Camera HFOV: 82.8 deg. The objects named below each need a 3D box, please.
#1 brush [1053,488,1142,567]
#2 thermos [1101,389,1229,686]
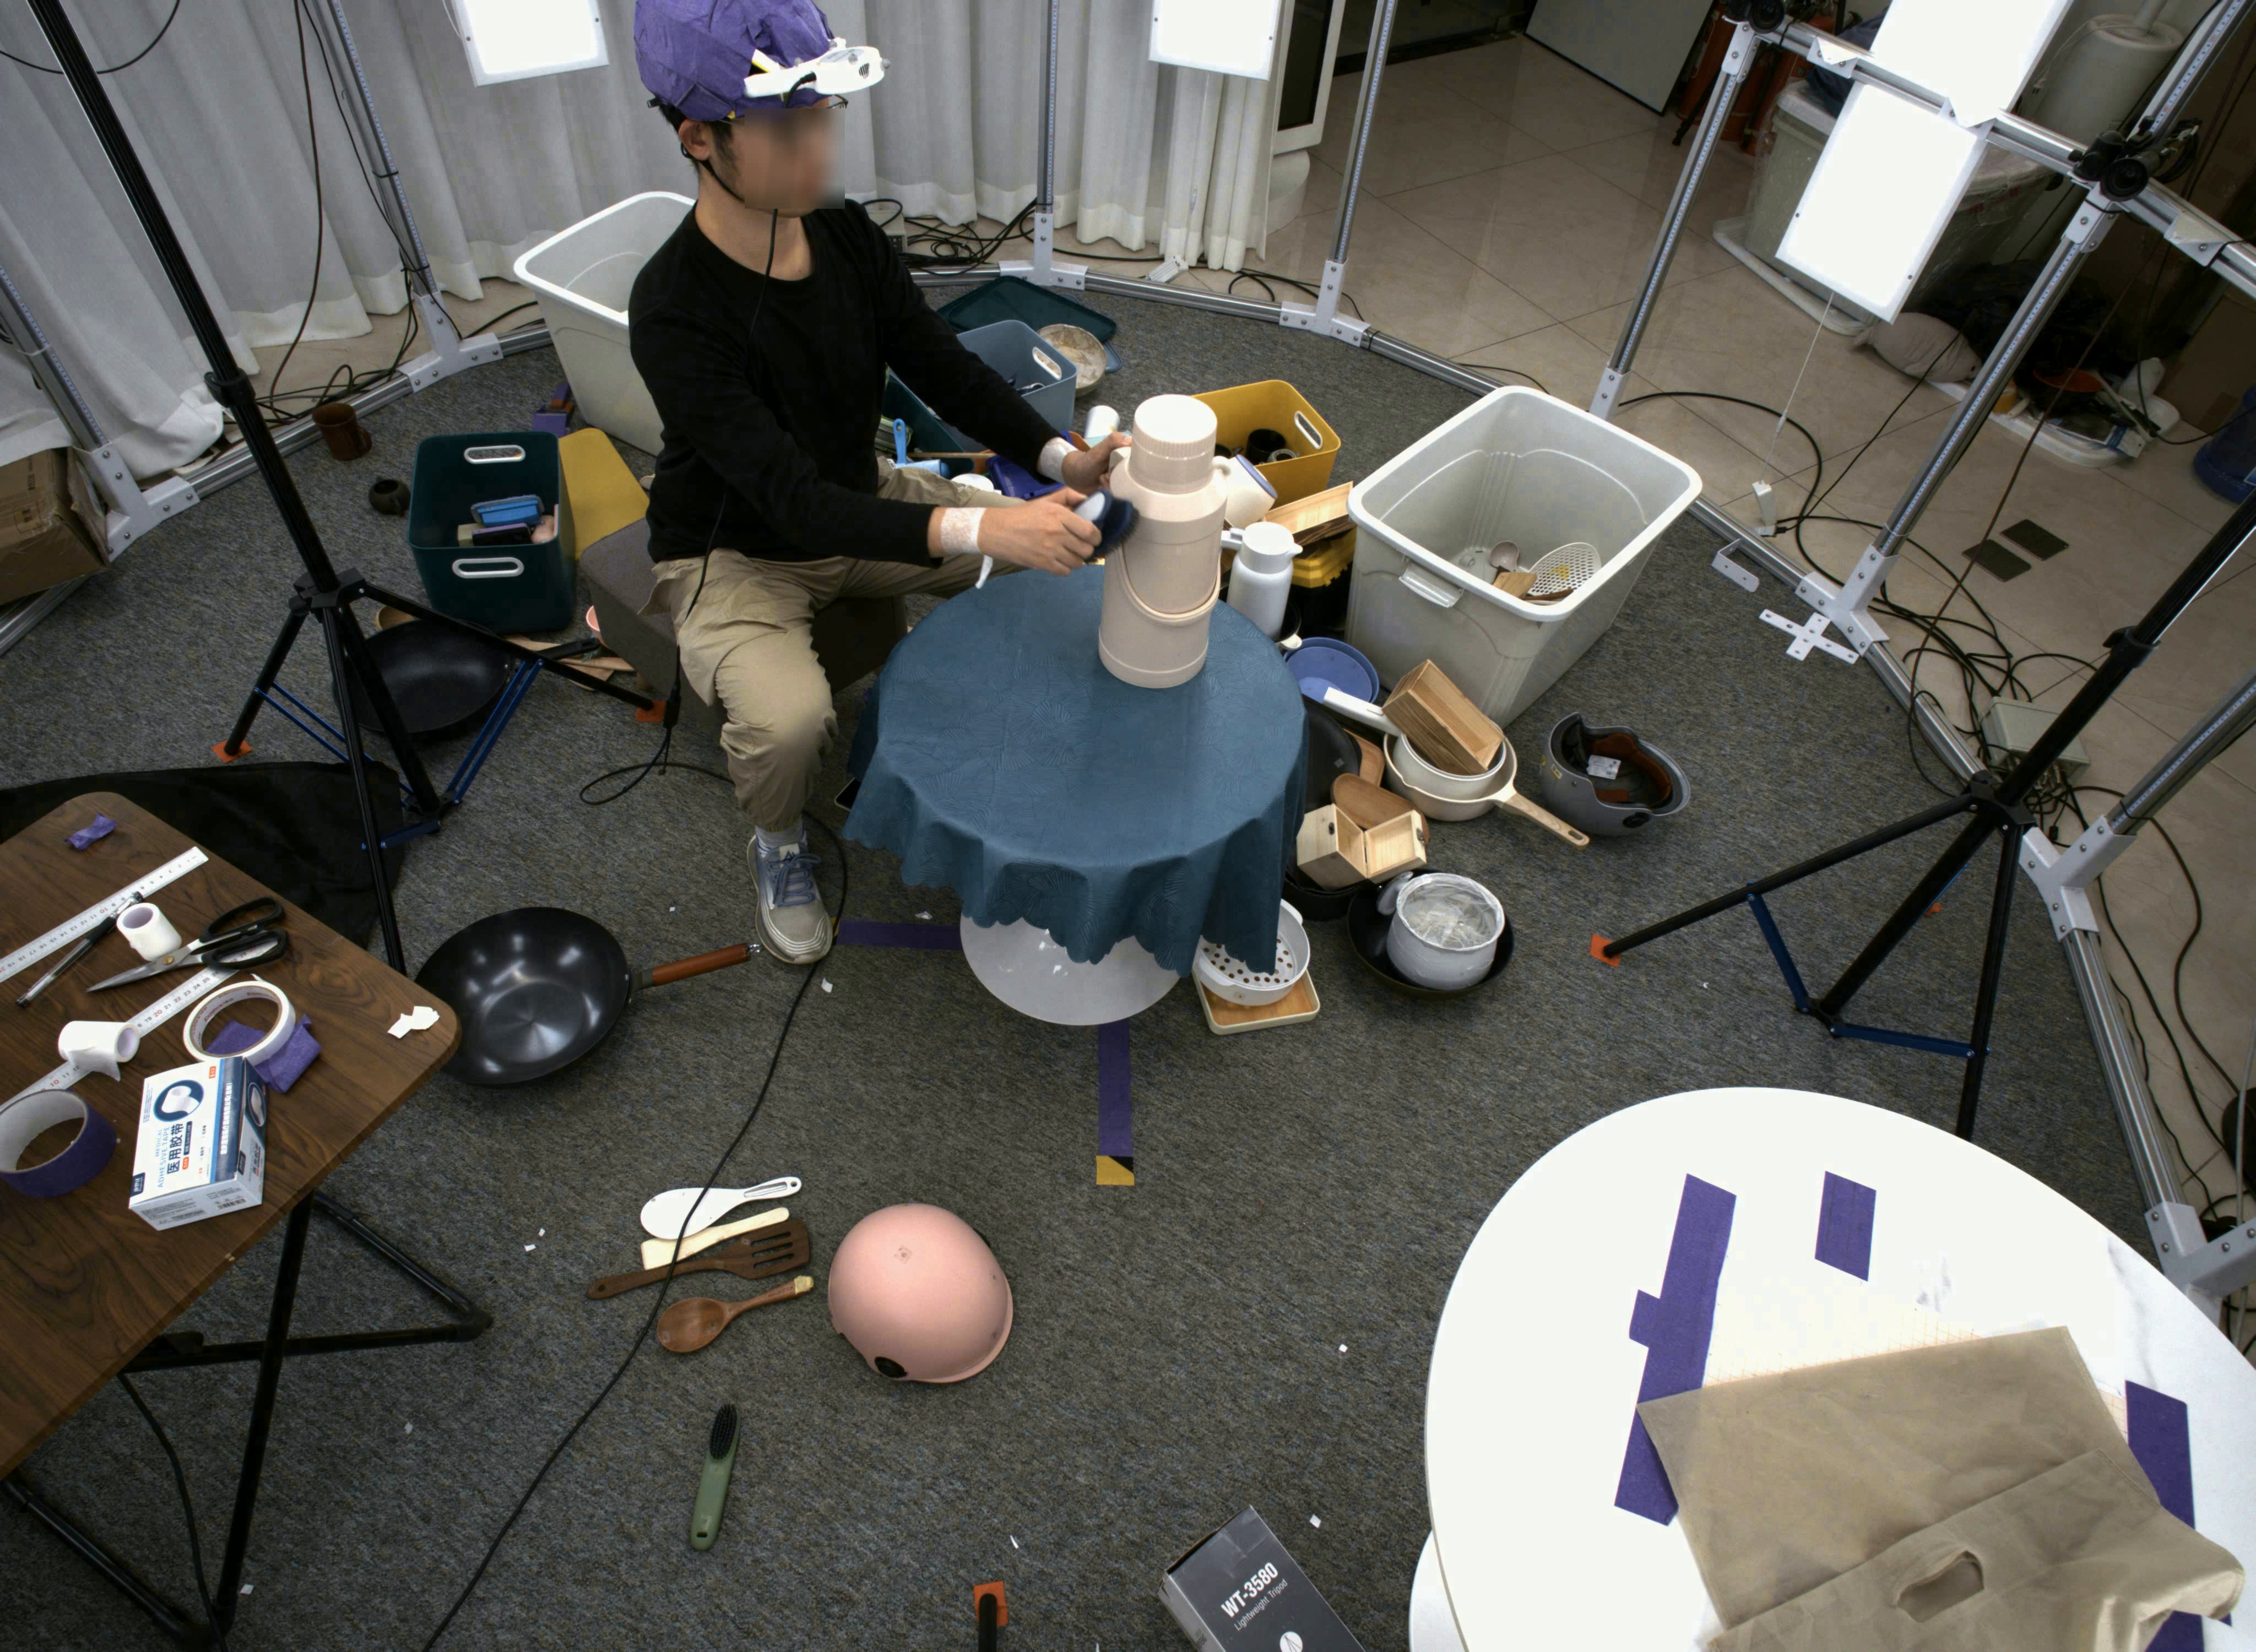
[{"bbox_3d":[-0.037,-0.370,1.607,0.060,0.121,0.069,25,57,-34],"label":"brush"},{"bbox_3d":[0.041,-0.395,1.760,0.176,0.396,0.211,-28,57,-23],"label":"thermos"}]
